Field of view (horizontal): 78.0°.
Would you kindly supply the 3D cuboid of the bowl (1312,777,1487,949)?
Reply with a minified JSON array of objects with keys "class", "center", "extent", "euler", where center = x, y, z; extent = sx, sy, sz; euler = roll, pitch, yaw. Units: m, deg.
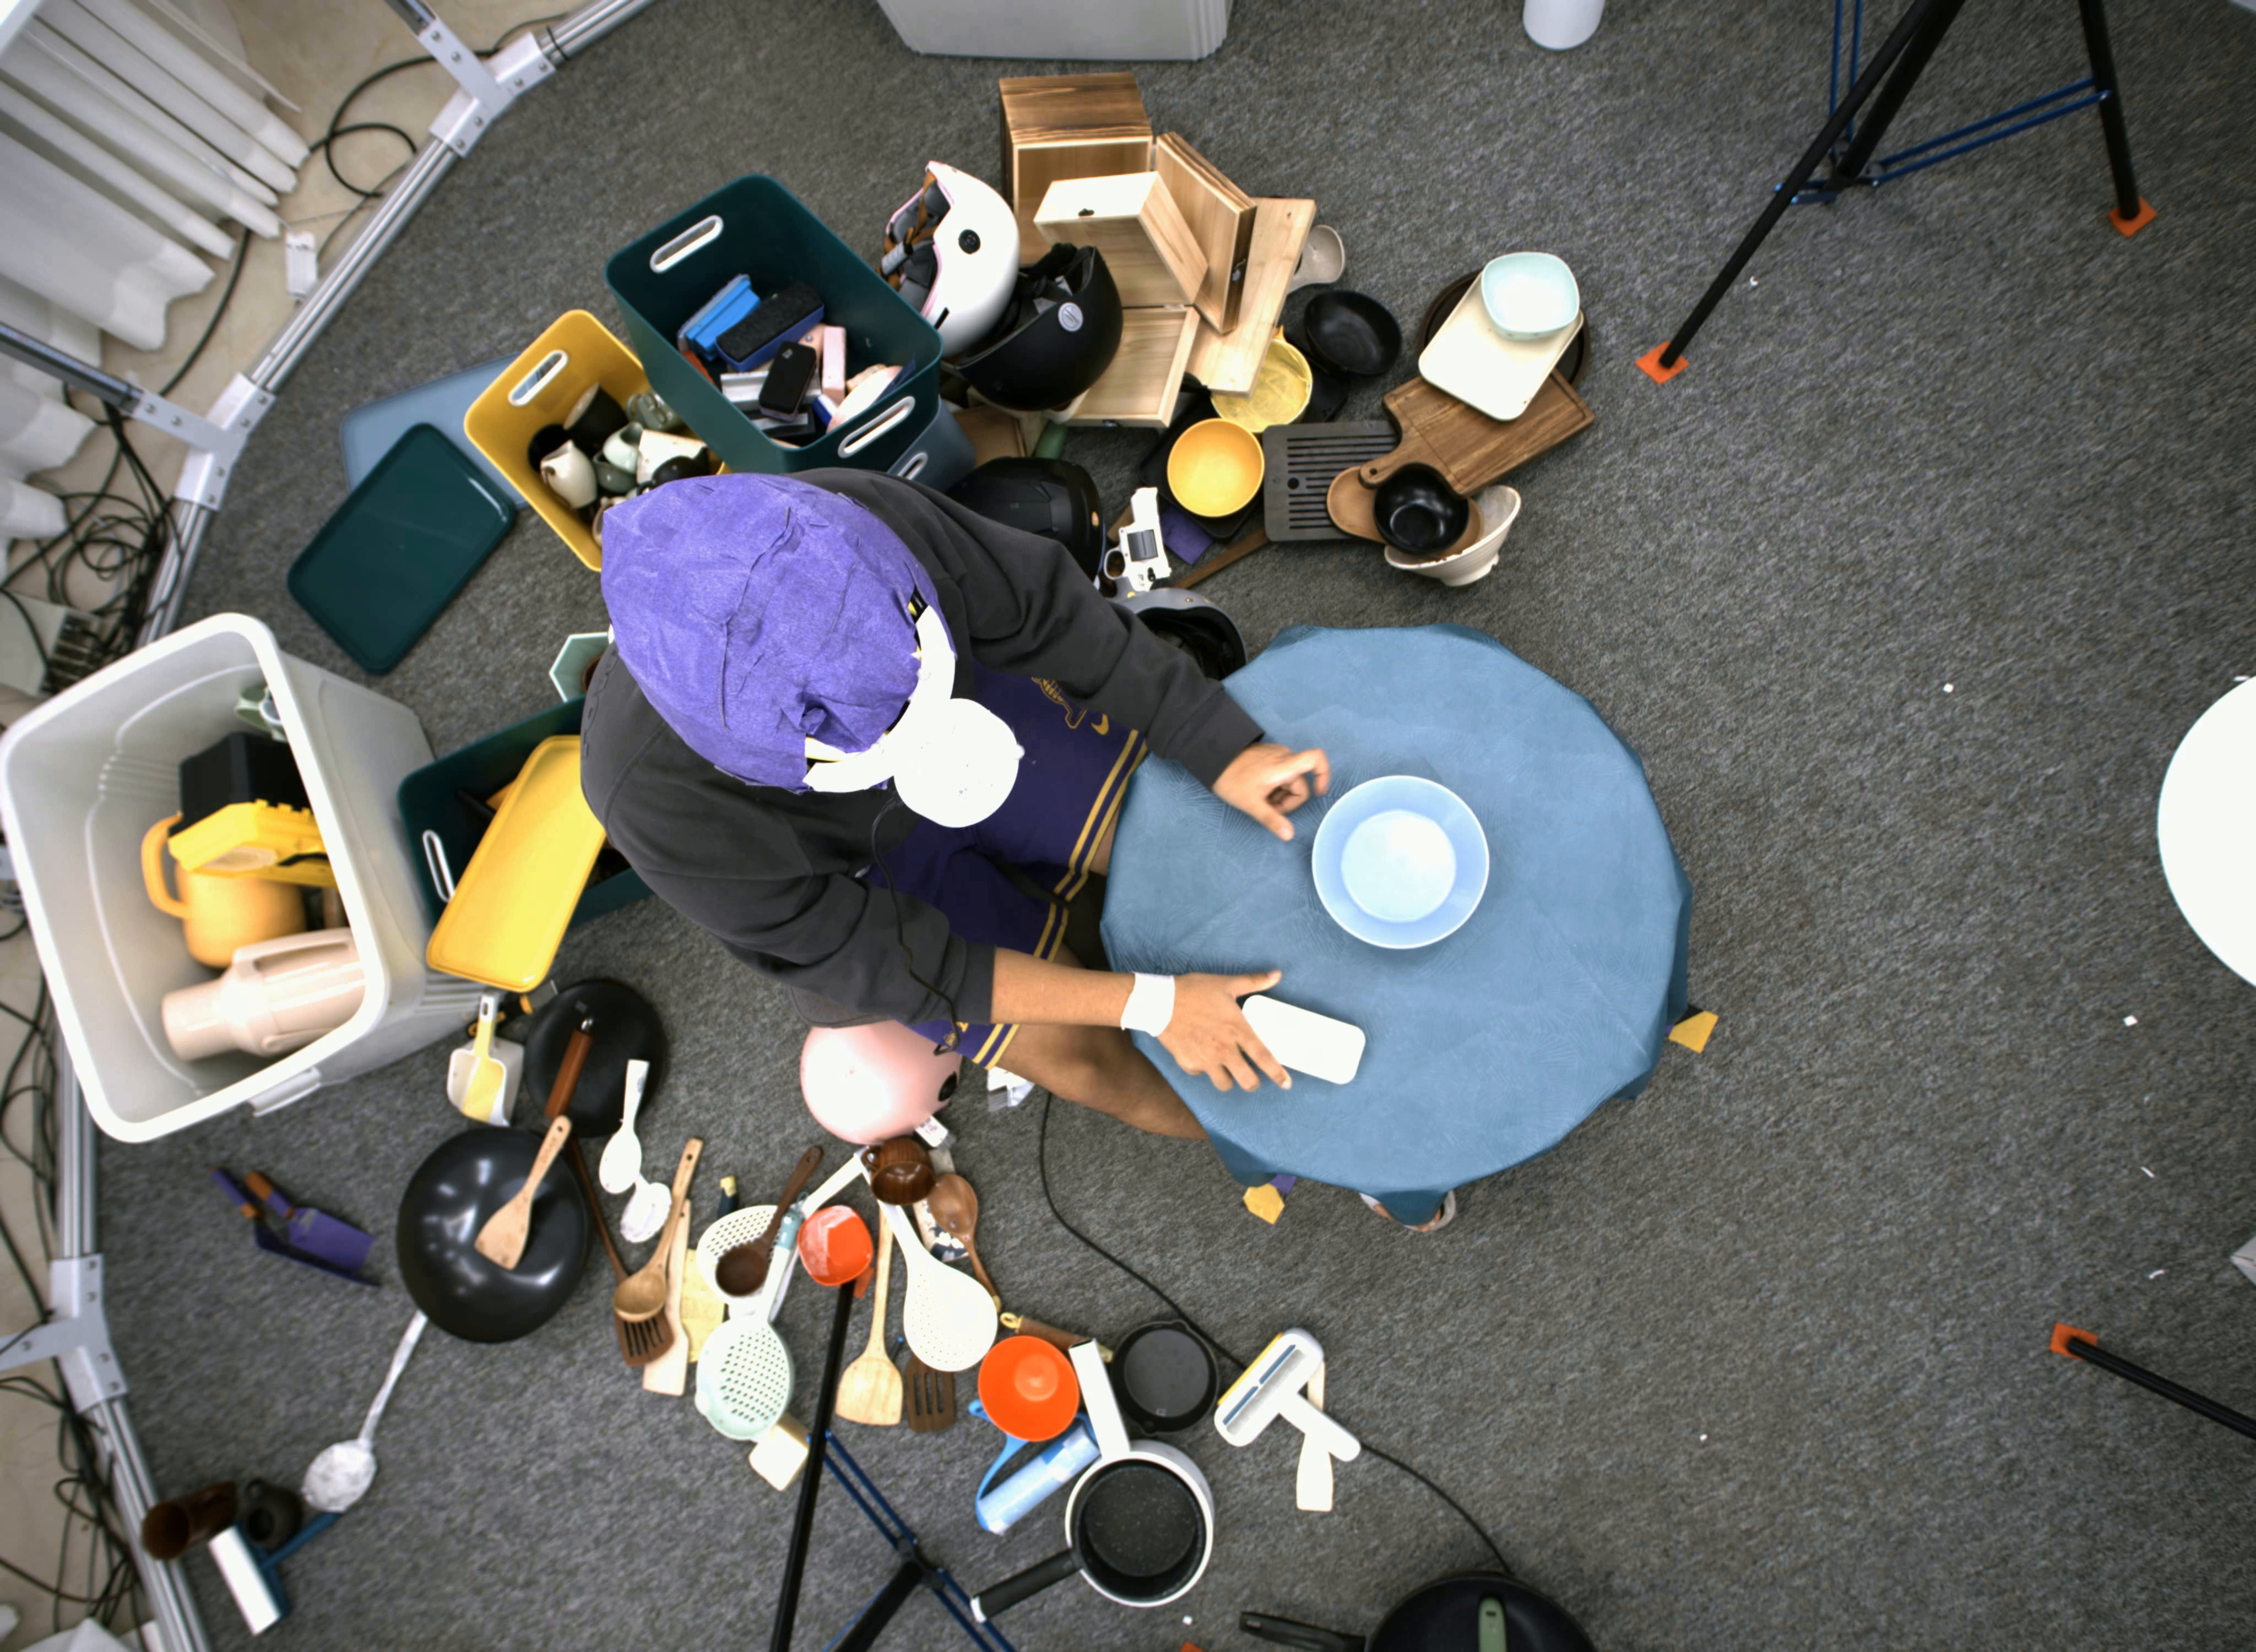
[{"class":"bowl","center":[0.279,0.039,1.423],"extent":[0.177,0.070,0.175],"euler":[-1,86,10]}]

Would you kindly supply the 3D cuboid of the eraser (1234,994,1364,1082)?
[{"class":"eraser","center":[0.179,0.219,1.451],"extent":[0.131,0.034,0.063],"euler":[19,88,9]}]
